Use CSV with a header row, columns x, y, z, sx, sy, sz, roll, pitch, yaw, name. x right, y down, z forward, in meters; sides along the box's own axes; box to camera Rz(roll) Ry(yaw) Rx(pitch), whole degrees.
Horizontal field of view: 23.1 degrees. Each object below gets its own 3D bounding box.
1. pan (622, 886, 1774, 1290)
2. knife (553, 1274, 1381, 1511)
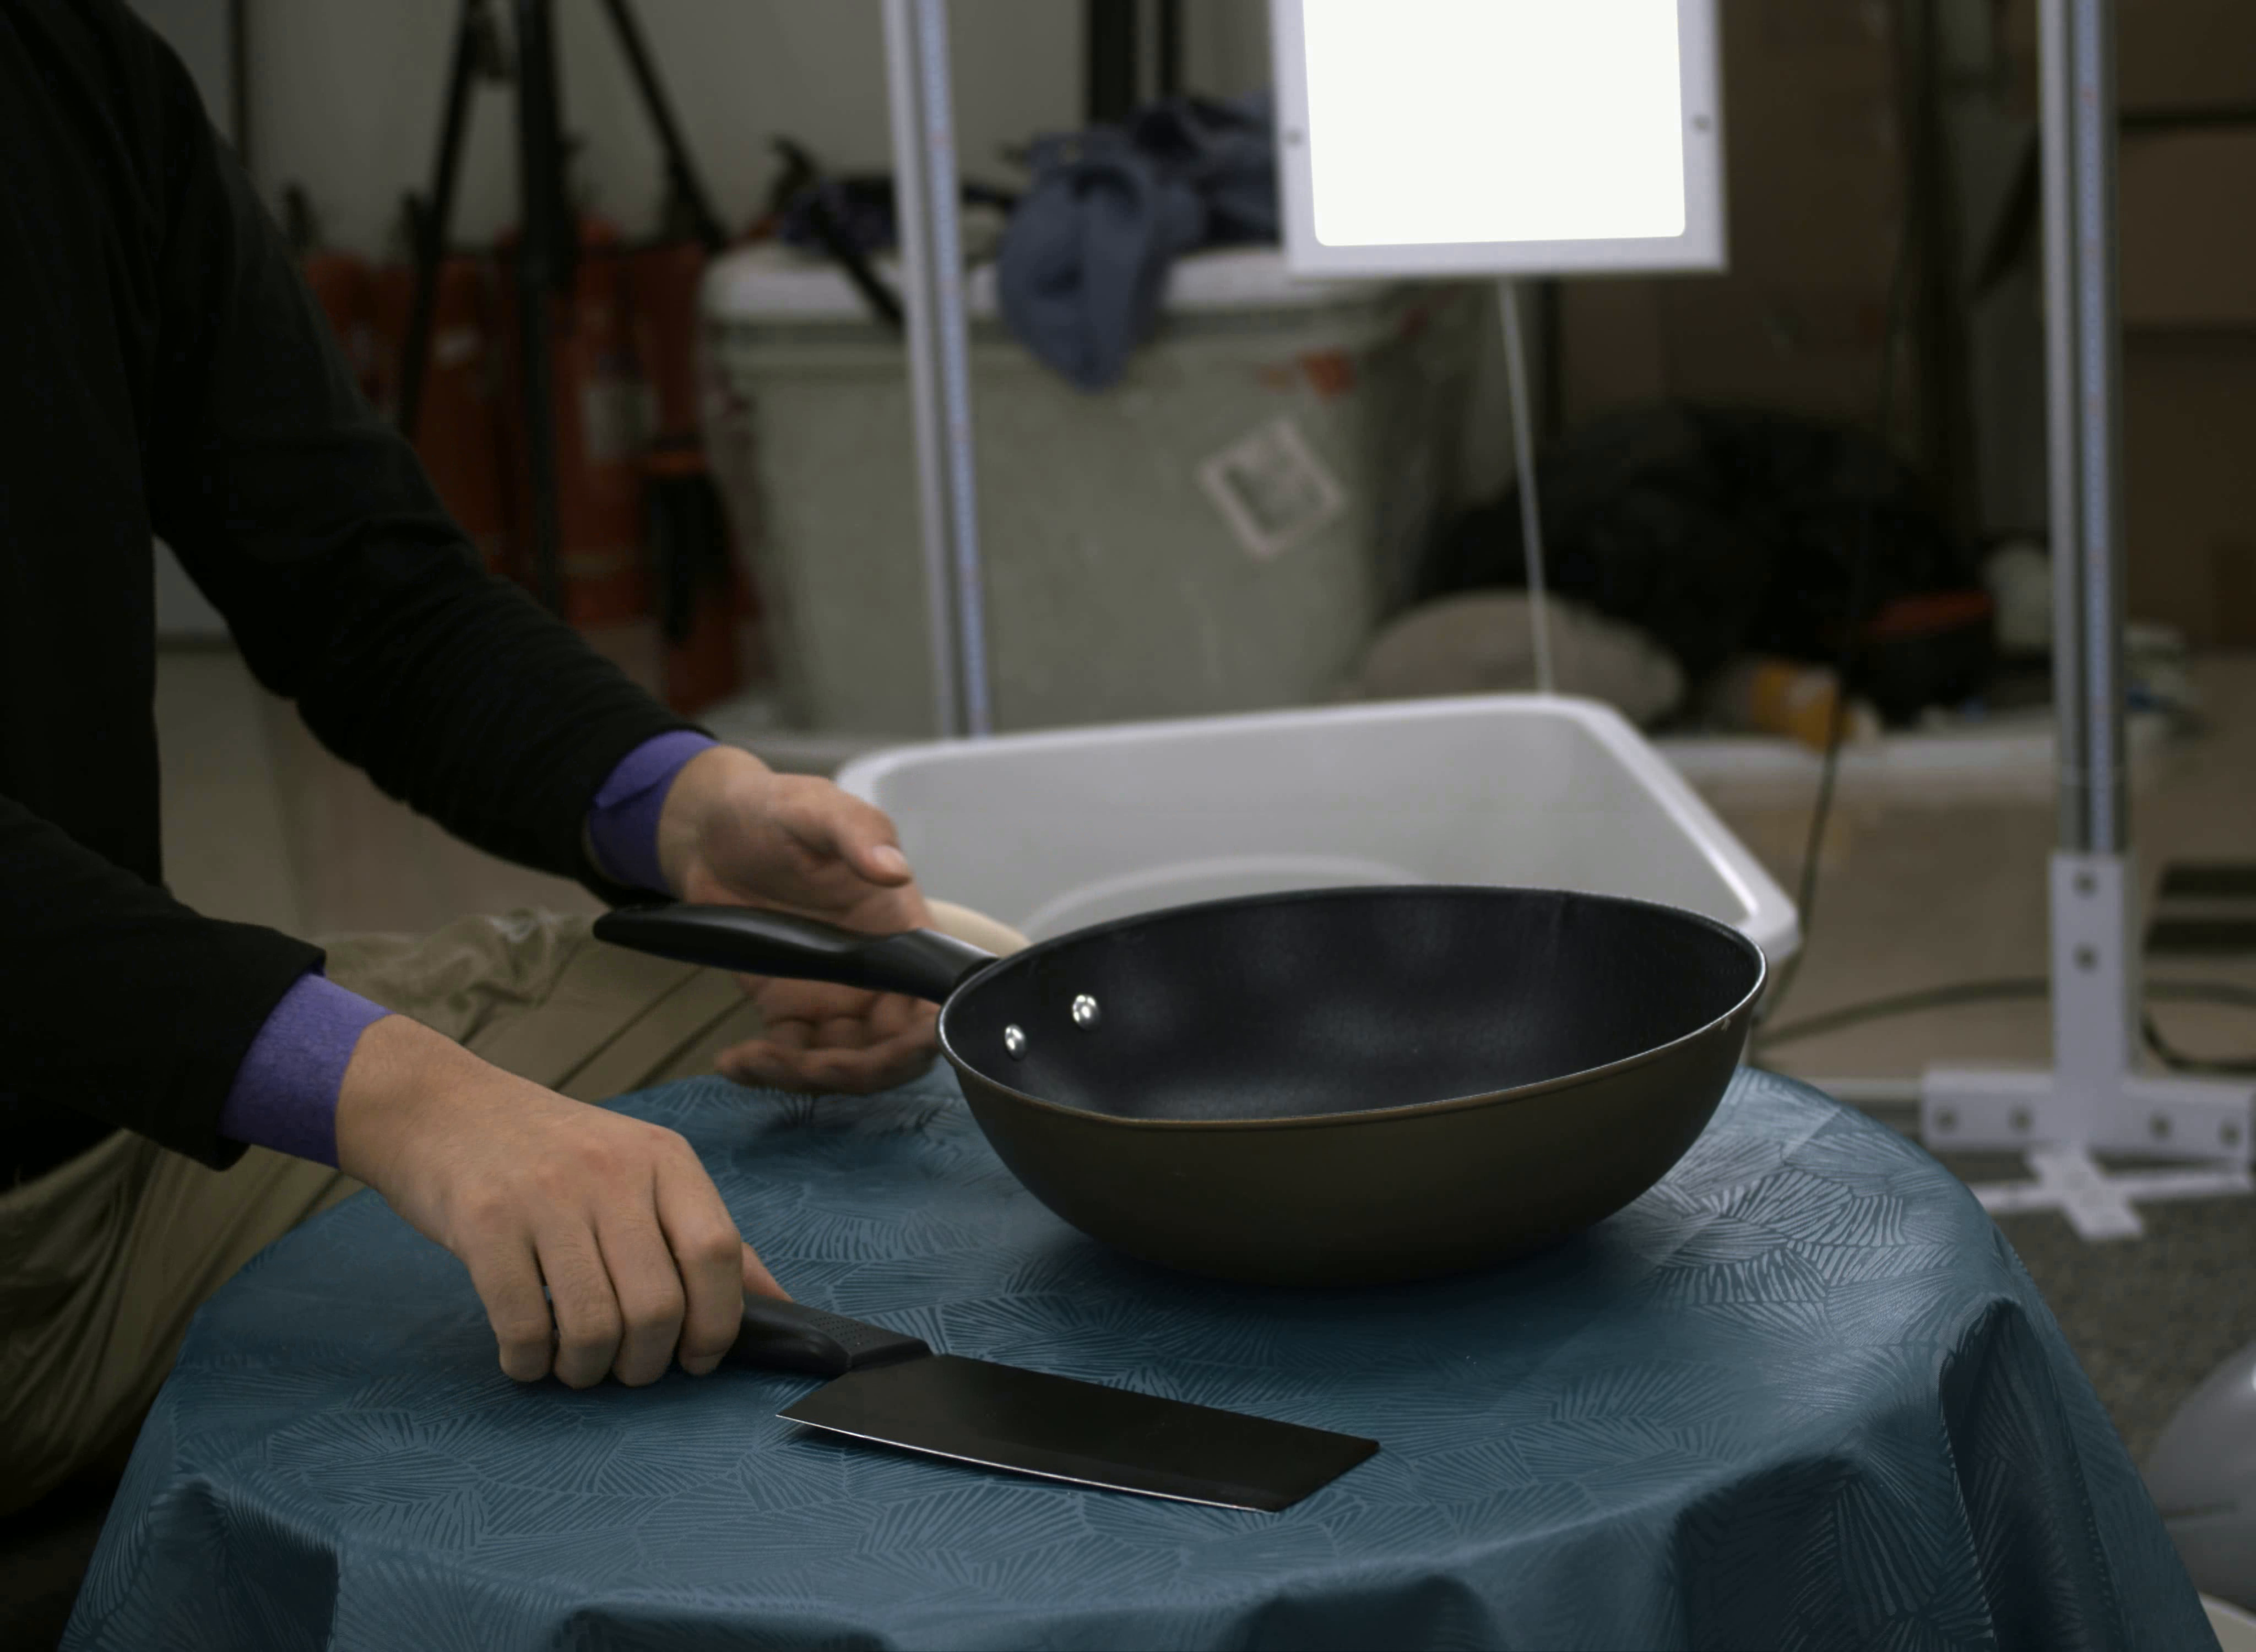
x,y,z,sx,sy,sz,roll,pitch,yaw,name
0.004,0.085,1.892,0.473,0.087,0.281,5,17,37,pan
-0.061,0.174,1.700,0.308,0.021,0.079,9,20,39,knife
